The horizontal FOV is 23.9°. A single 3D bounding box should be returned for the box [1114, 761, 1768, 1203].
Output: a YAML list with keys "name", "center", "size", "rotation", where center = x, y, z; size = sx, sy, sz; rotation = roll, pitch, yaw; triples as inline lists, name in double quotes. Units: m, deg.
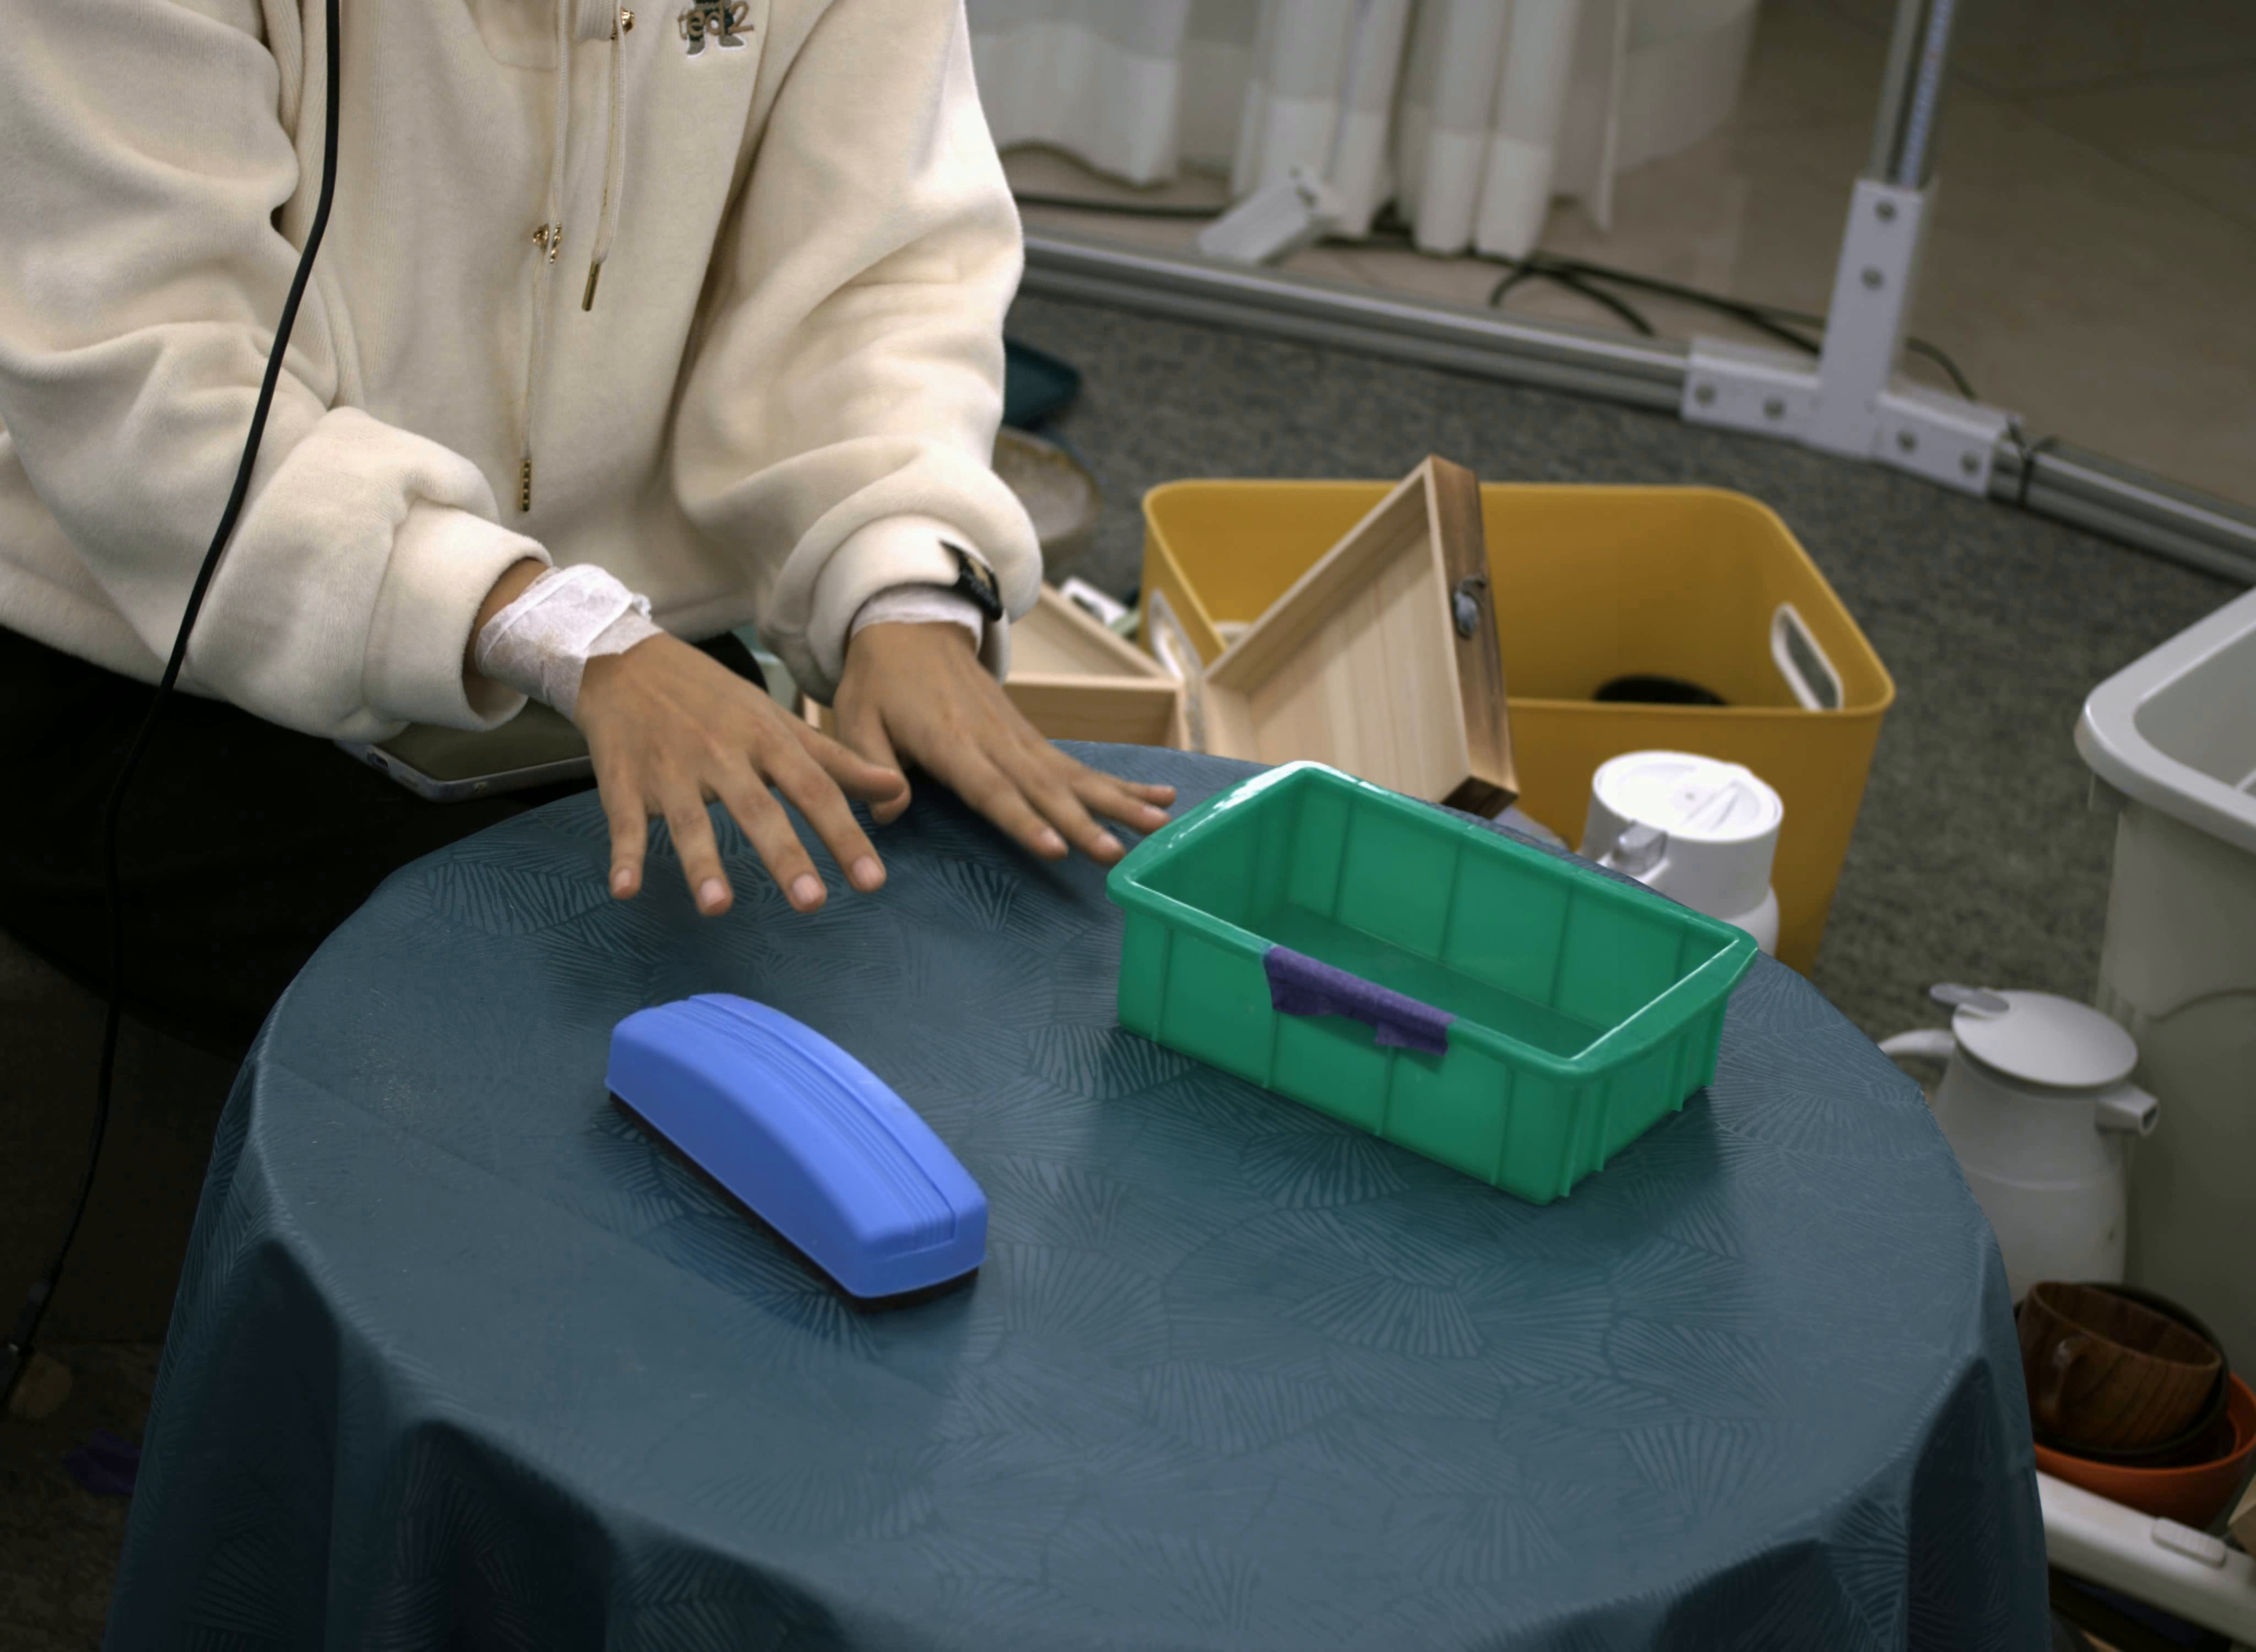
- name: "box"
  center: [0.108, 0.056, 1.892]
  size: [0.211, 0.065, 0.138]
  rotation: [22, 33, 26]

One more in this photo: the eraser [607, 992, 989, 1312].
- name: "eraser"
  center: [-0.111, 0.102, 1.769]
  size: [0.053, 0.047, 0.163]
  rotation: [-14, 34, -35]
